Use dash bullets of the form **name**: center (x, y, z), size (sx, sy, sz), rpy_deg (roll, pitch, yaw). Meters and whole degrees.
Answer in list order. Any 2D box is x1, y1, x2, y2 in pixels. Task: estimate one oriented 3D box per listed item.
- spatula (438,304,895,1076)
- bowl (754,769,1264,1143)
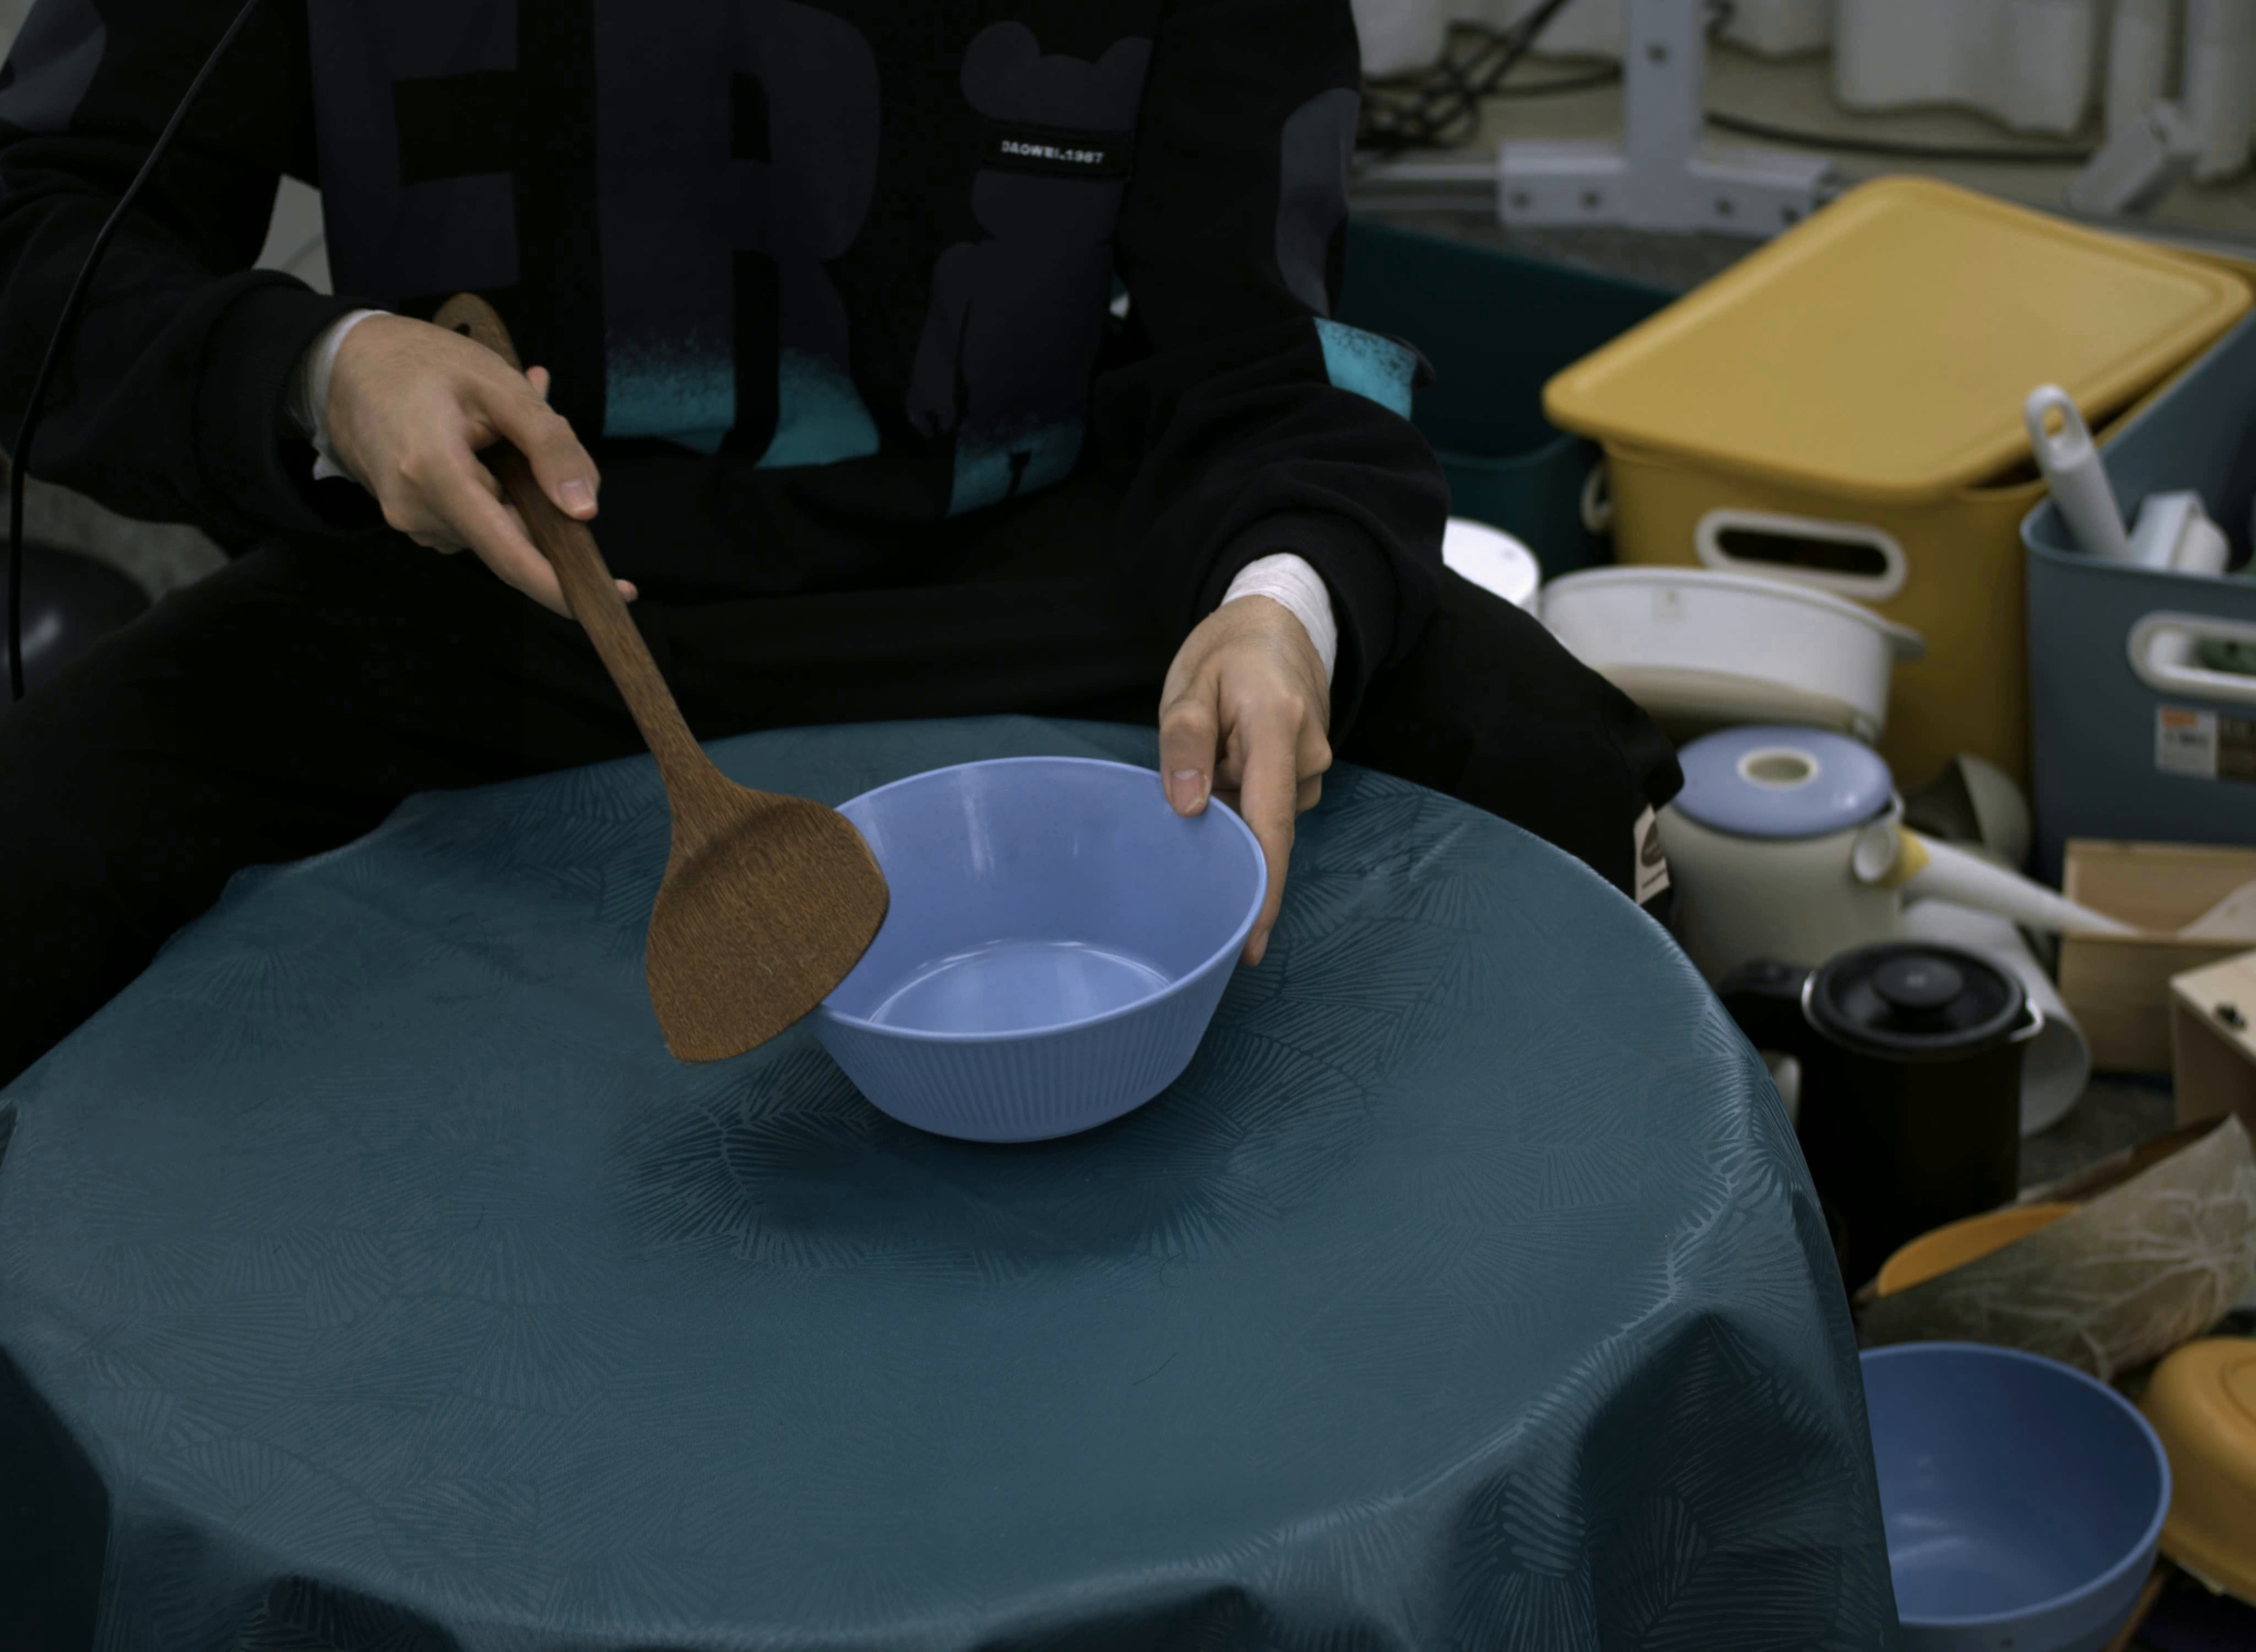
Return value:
- **spatula**: center (-0.177, -0.063, 1.968), size (0.095, 0.015, 0.391), rpy_deg (-38, 49, 9)
- **bowl**: center (-0.039, 0.051, 1.912), size (0.175, 0.069, 0.179), rpy_deg (-3, 29, 2)
